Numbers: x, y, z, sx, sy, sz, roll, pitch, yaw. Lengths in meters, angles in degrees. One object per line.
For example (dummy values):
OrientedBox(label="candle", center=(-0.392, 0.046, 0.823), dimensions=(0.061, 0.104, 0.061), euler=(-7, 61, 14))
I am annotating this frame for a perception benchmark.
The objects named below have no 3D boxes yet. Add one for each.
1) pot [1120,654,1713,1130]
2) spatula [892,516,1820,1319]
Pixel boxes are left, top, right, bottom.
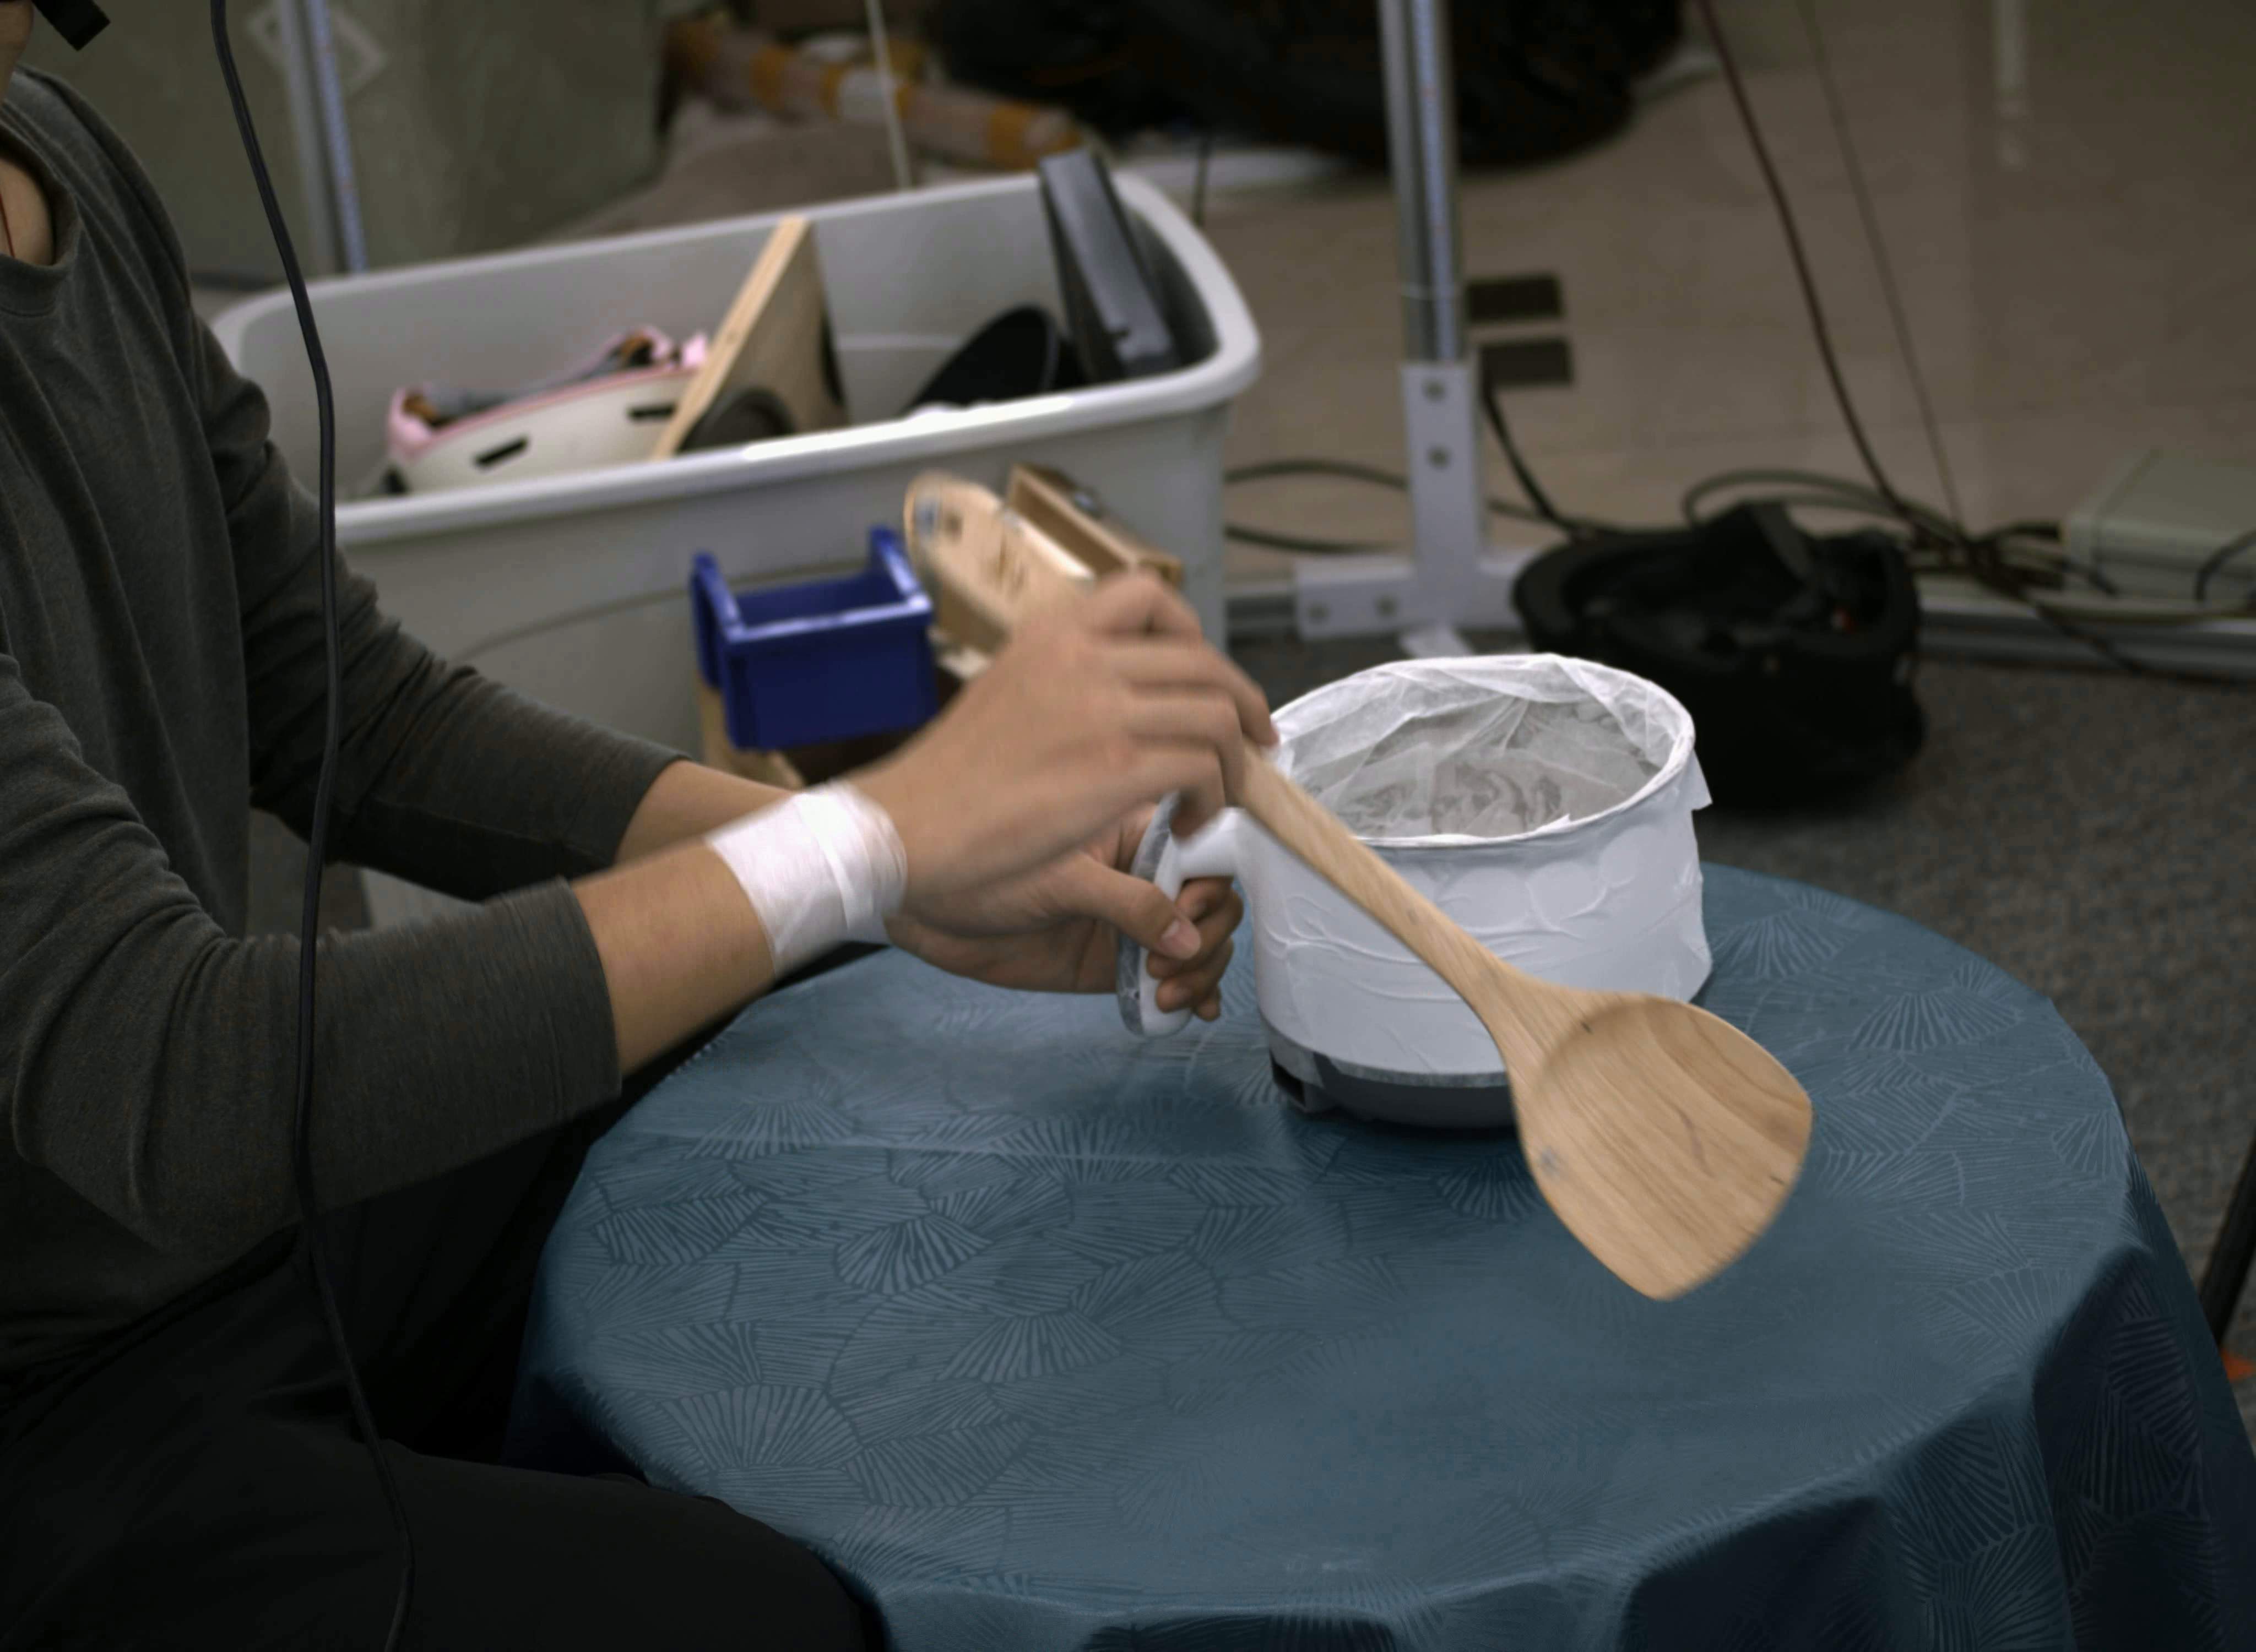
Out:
OrientedBox(label="pot", center=(0.109, 0.029, 2.200), dimensions=(0.233, 0.139, 0.176), euler=(-3, 26, 8))
OrientedBox(label="spatula", center=(0.070, 0.022, 1.965), dimensions=(0.095, 0.391, 0.018), euler=(-52, 3, -3))
